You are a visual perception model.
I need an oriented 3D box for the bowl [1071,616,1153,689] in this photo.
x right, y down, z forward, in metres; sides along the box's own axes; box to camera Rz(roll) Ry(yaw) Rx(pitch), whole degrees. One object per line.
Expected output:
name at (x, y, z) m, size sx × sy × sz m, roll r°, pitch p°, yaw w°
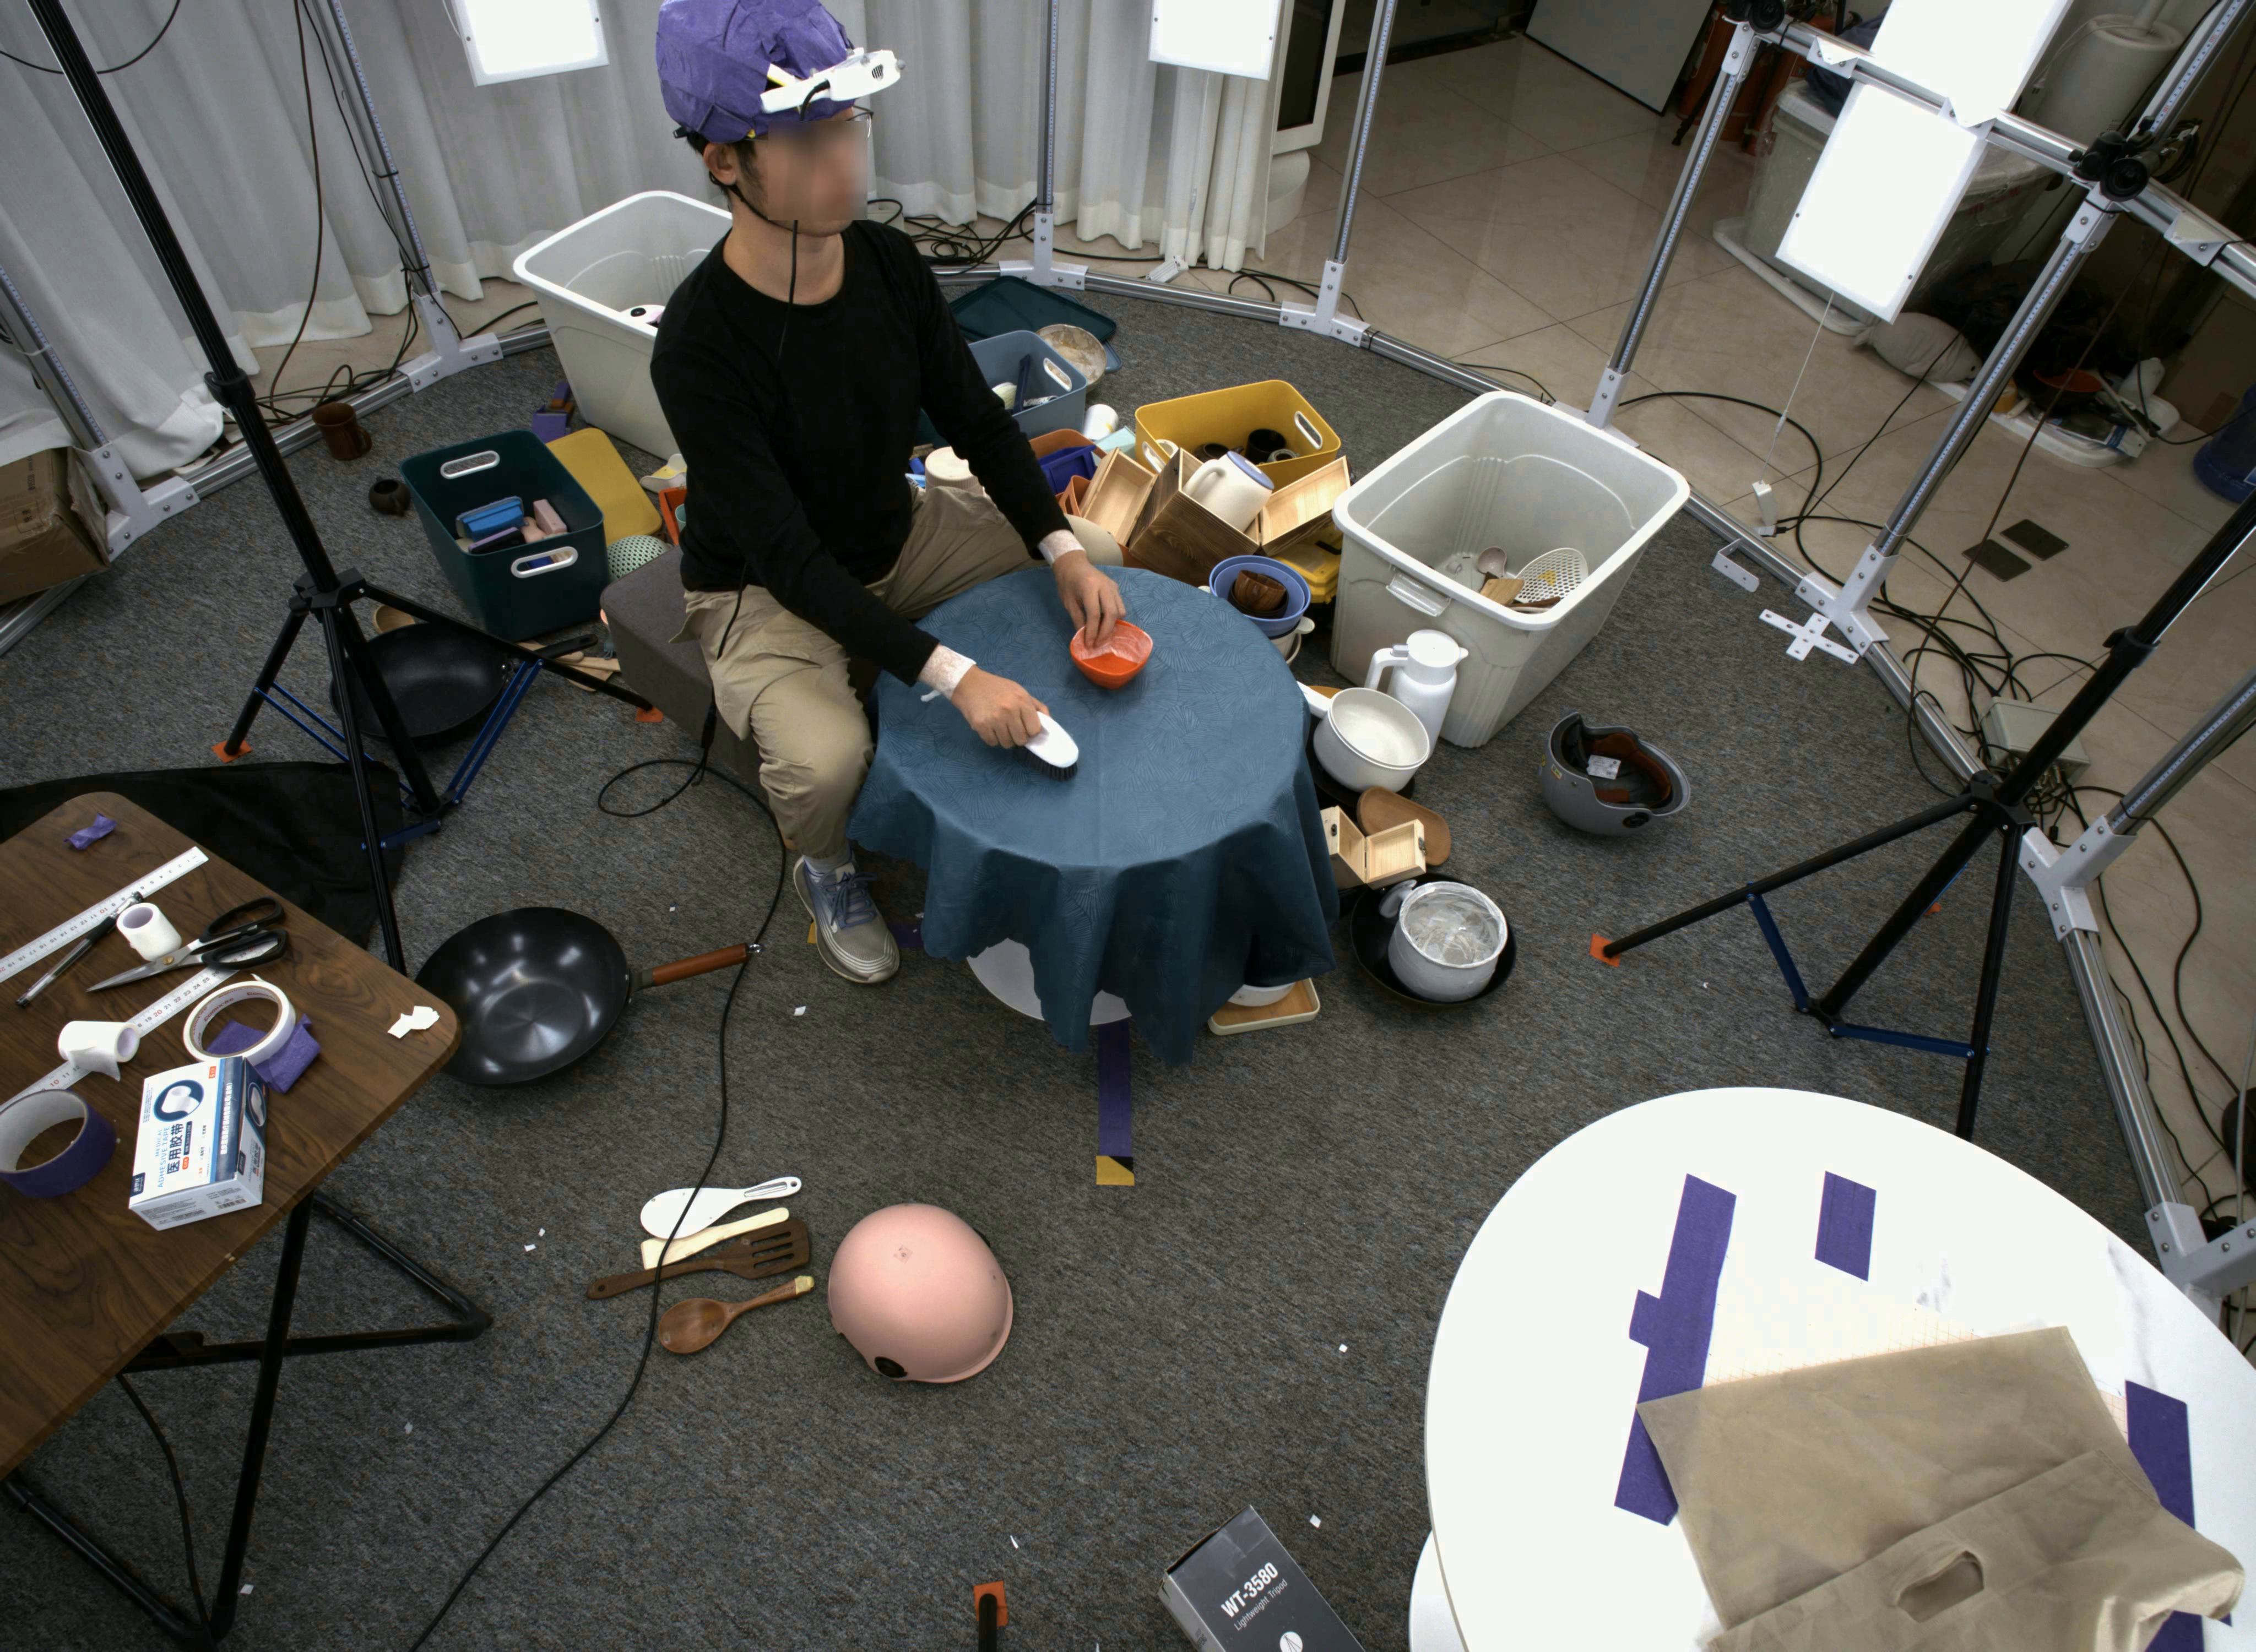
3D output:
bowl at (-0.025, -0.243, 1.844) m, size 0.119 × 0.050 × 0.122 m, roll 3°, pitch 52°, yaw -4°

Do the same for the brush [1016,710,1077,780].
brush at (-0.109, -0.116, 1.715) m, size 0.100 × 0.071 × 0.051 m, roll 38°, pitch 57°, yaw 25°
